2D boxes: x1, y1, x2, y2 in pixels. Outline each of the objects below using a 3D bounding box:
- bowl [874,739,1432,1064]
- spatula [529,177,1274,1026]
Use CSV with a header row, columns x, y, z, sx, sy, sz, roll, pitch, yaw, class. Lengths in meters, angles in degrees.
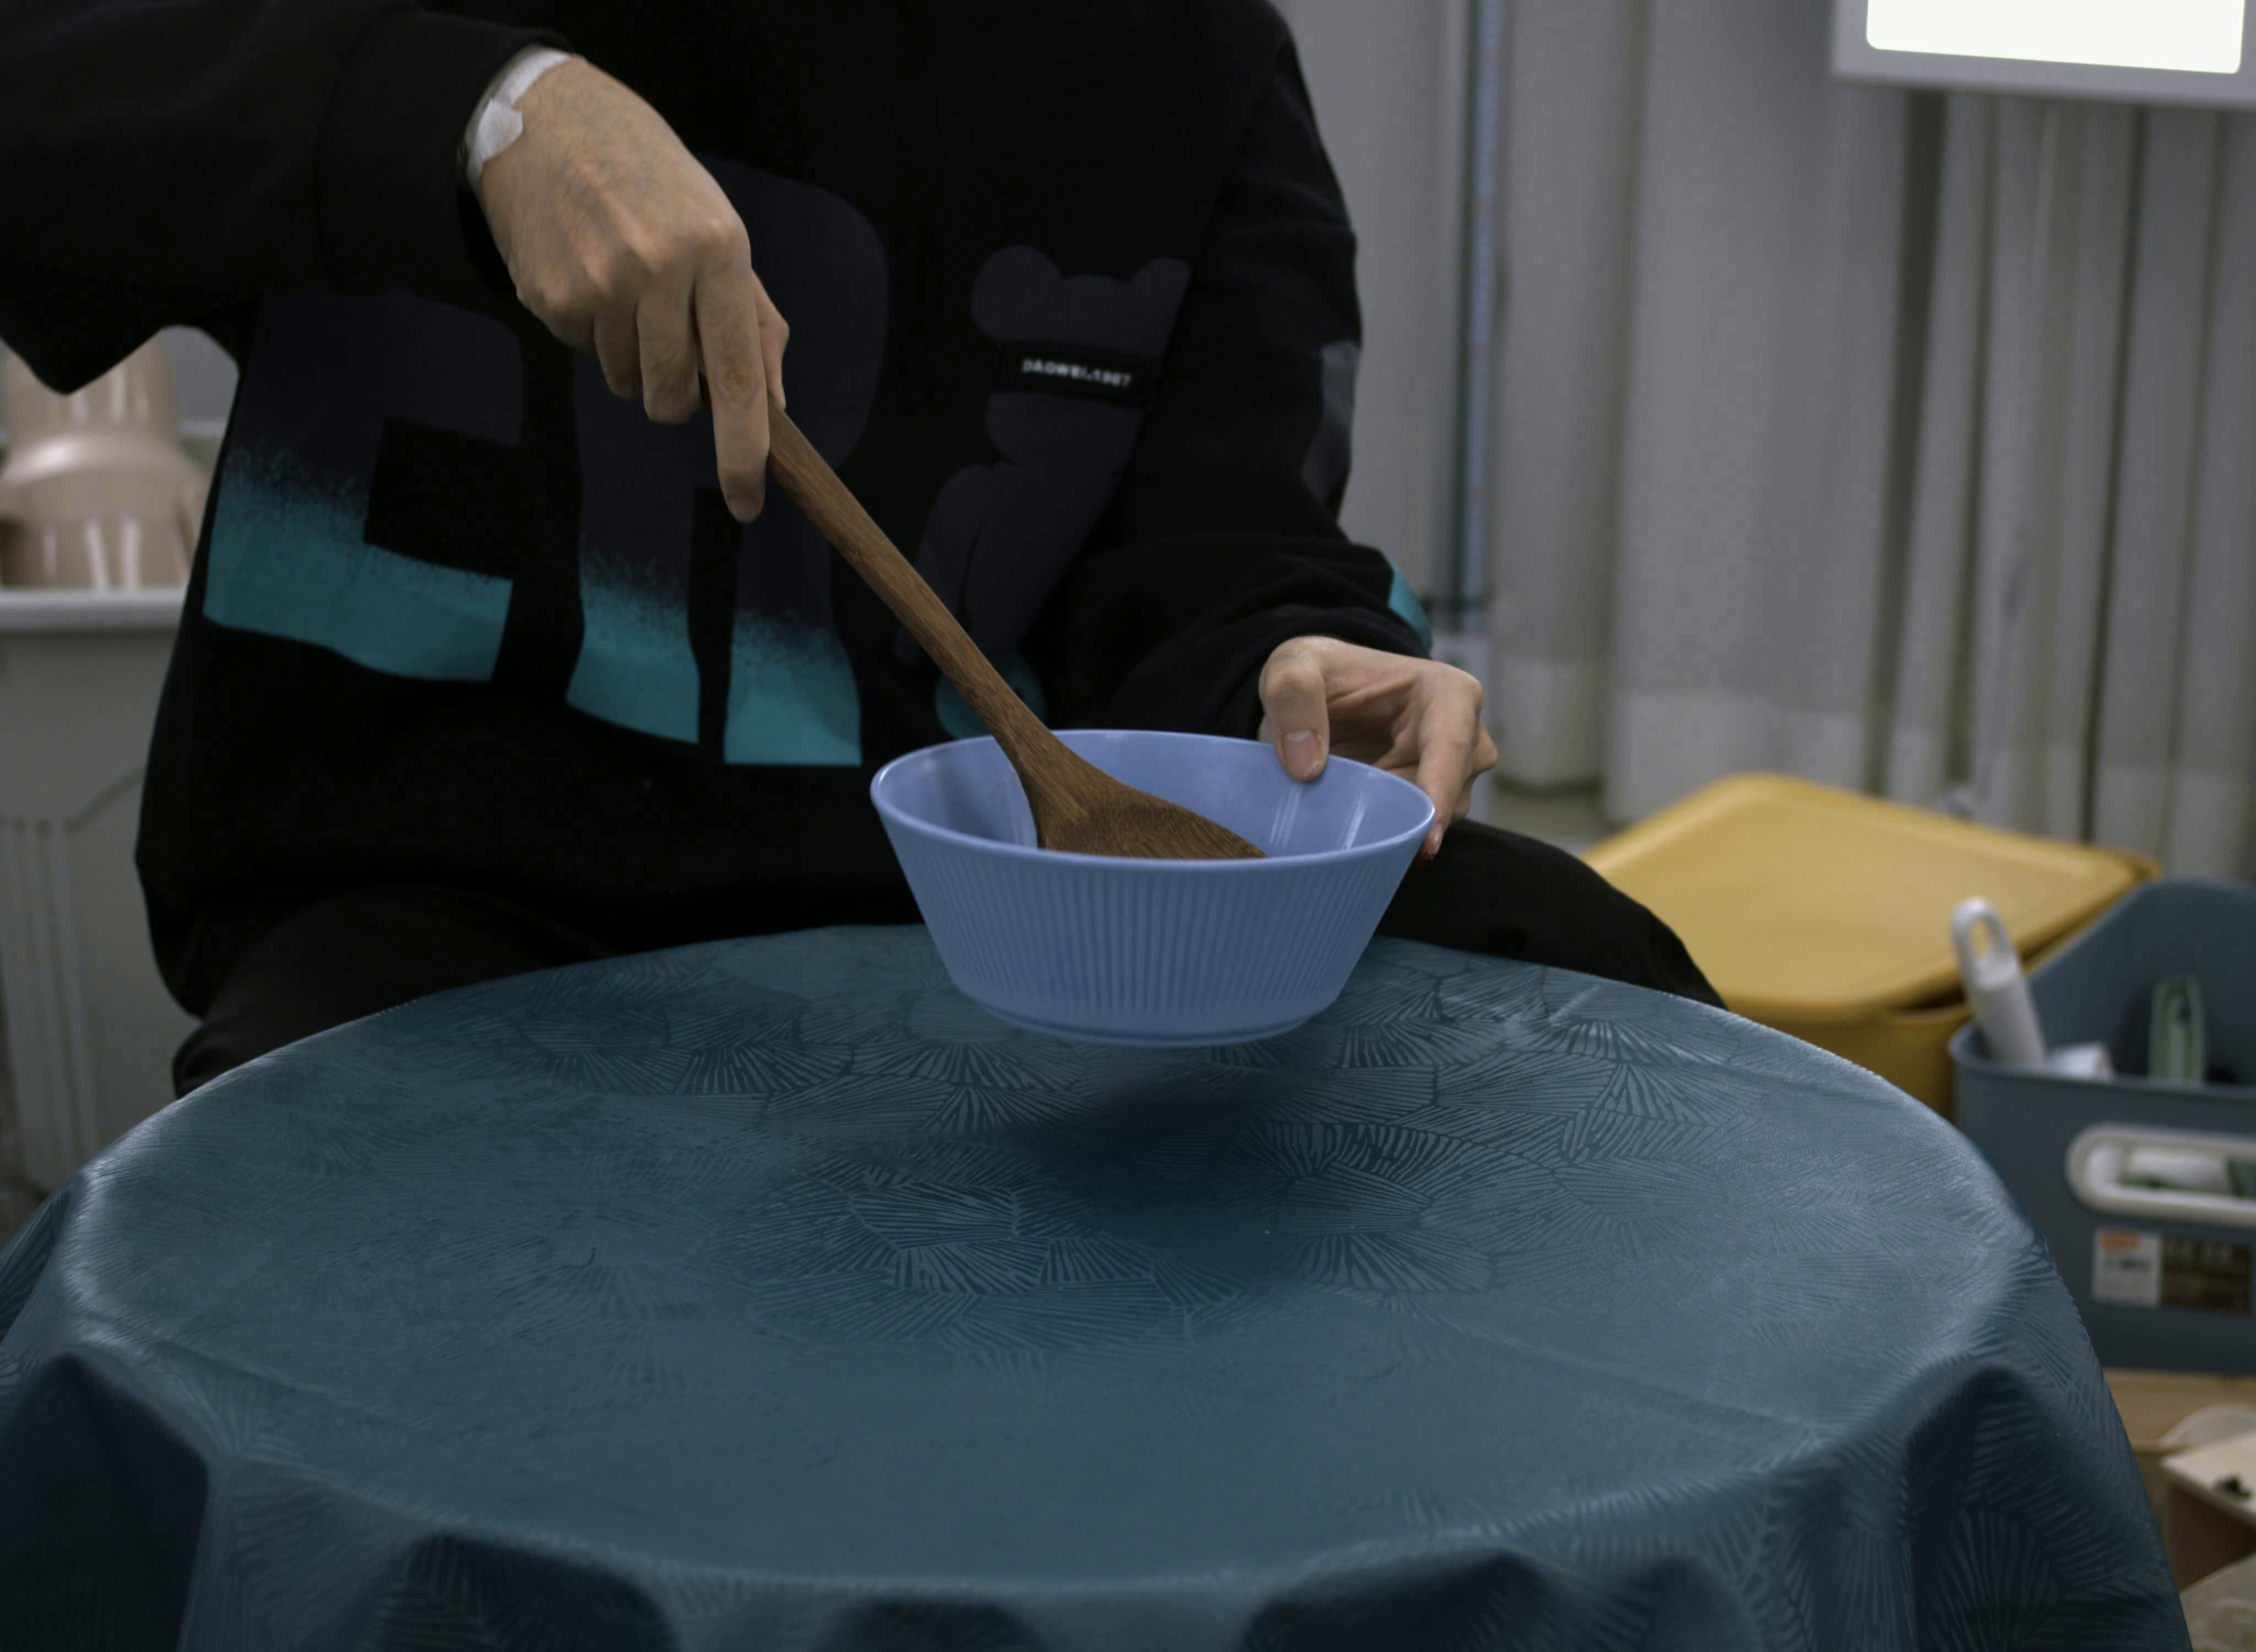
x,y,z,sx,sy,sz,roll,pitch,yaw,class
0.009,0.026,1.649,0.175,0.071,0.175,-1,16,1,bowl
-0.074,-0.079,1.688,0.096,0.016,0.383,-23,66,-46,spatula
